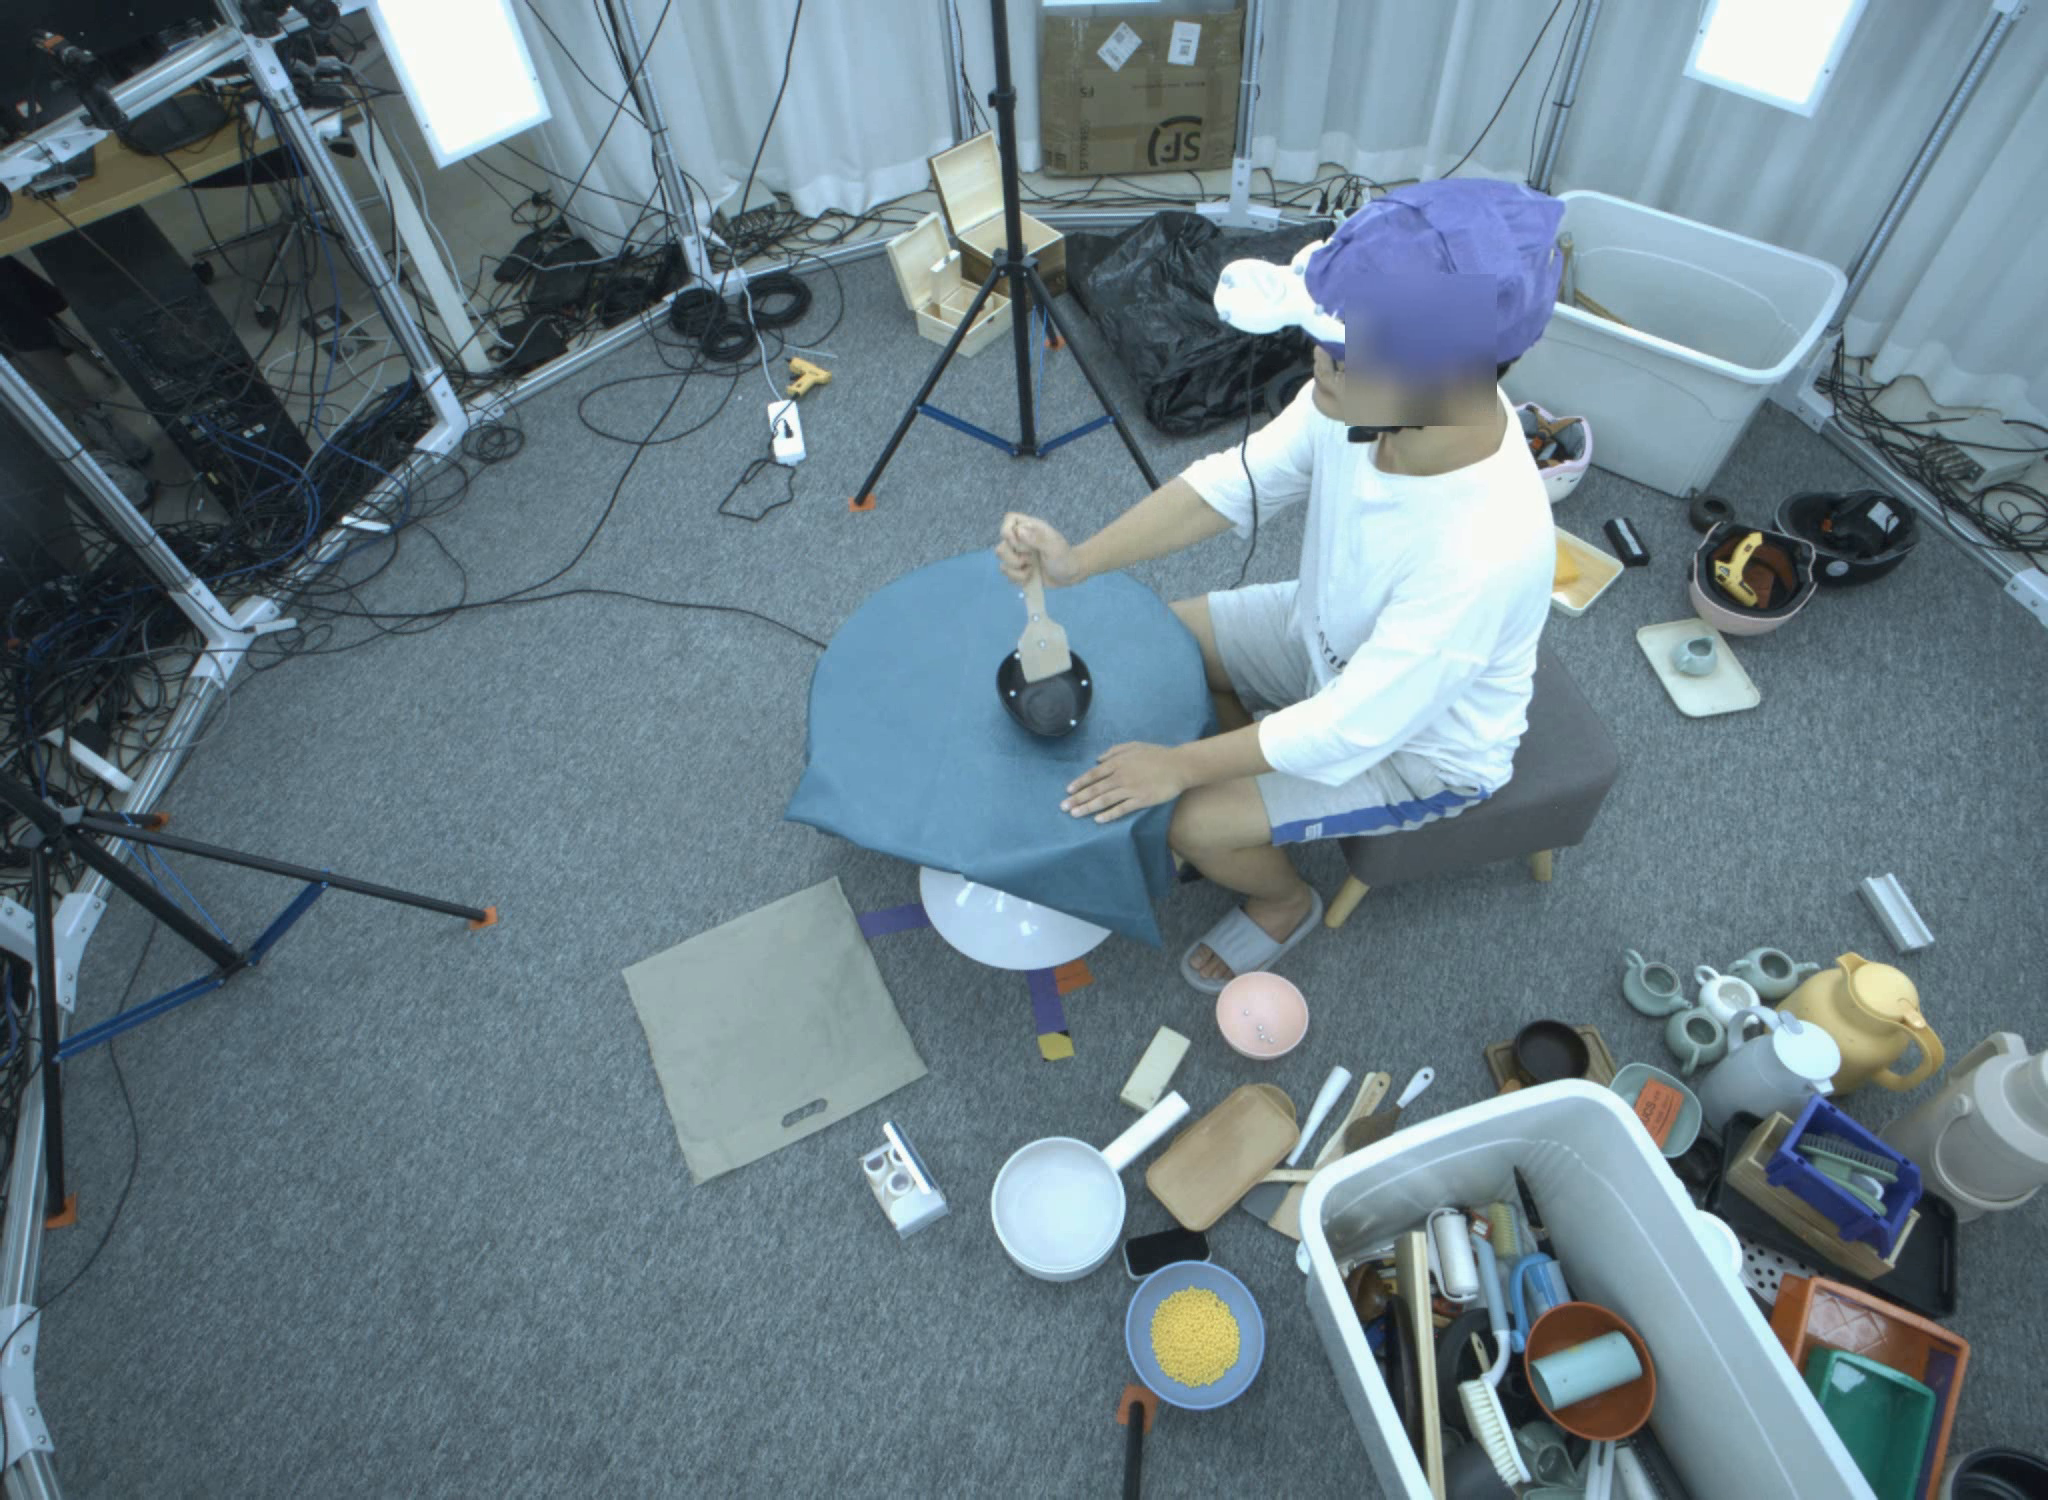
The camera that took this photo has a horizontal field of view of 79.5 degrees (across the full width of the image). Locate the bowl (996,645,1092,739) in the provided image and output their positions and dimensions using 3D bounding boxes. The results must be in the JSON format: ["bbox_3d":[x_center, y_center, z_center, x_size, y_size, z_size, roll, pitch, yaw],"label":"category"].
[{"bbox_3d":[0.031,-0.079,1.801,0.138,0.067,0.167,-16,57,-10],"label":"bowl"}]

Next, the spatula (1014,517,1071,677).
[{"bbox_3d":[0.015,-0.201,1.640,0.072,0.297,0.010,-20,54,-5],"label":"spatula"}]
